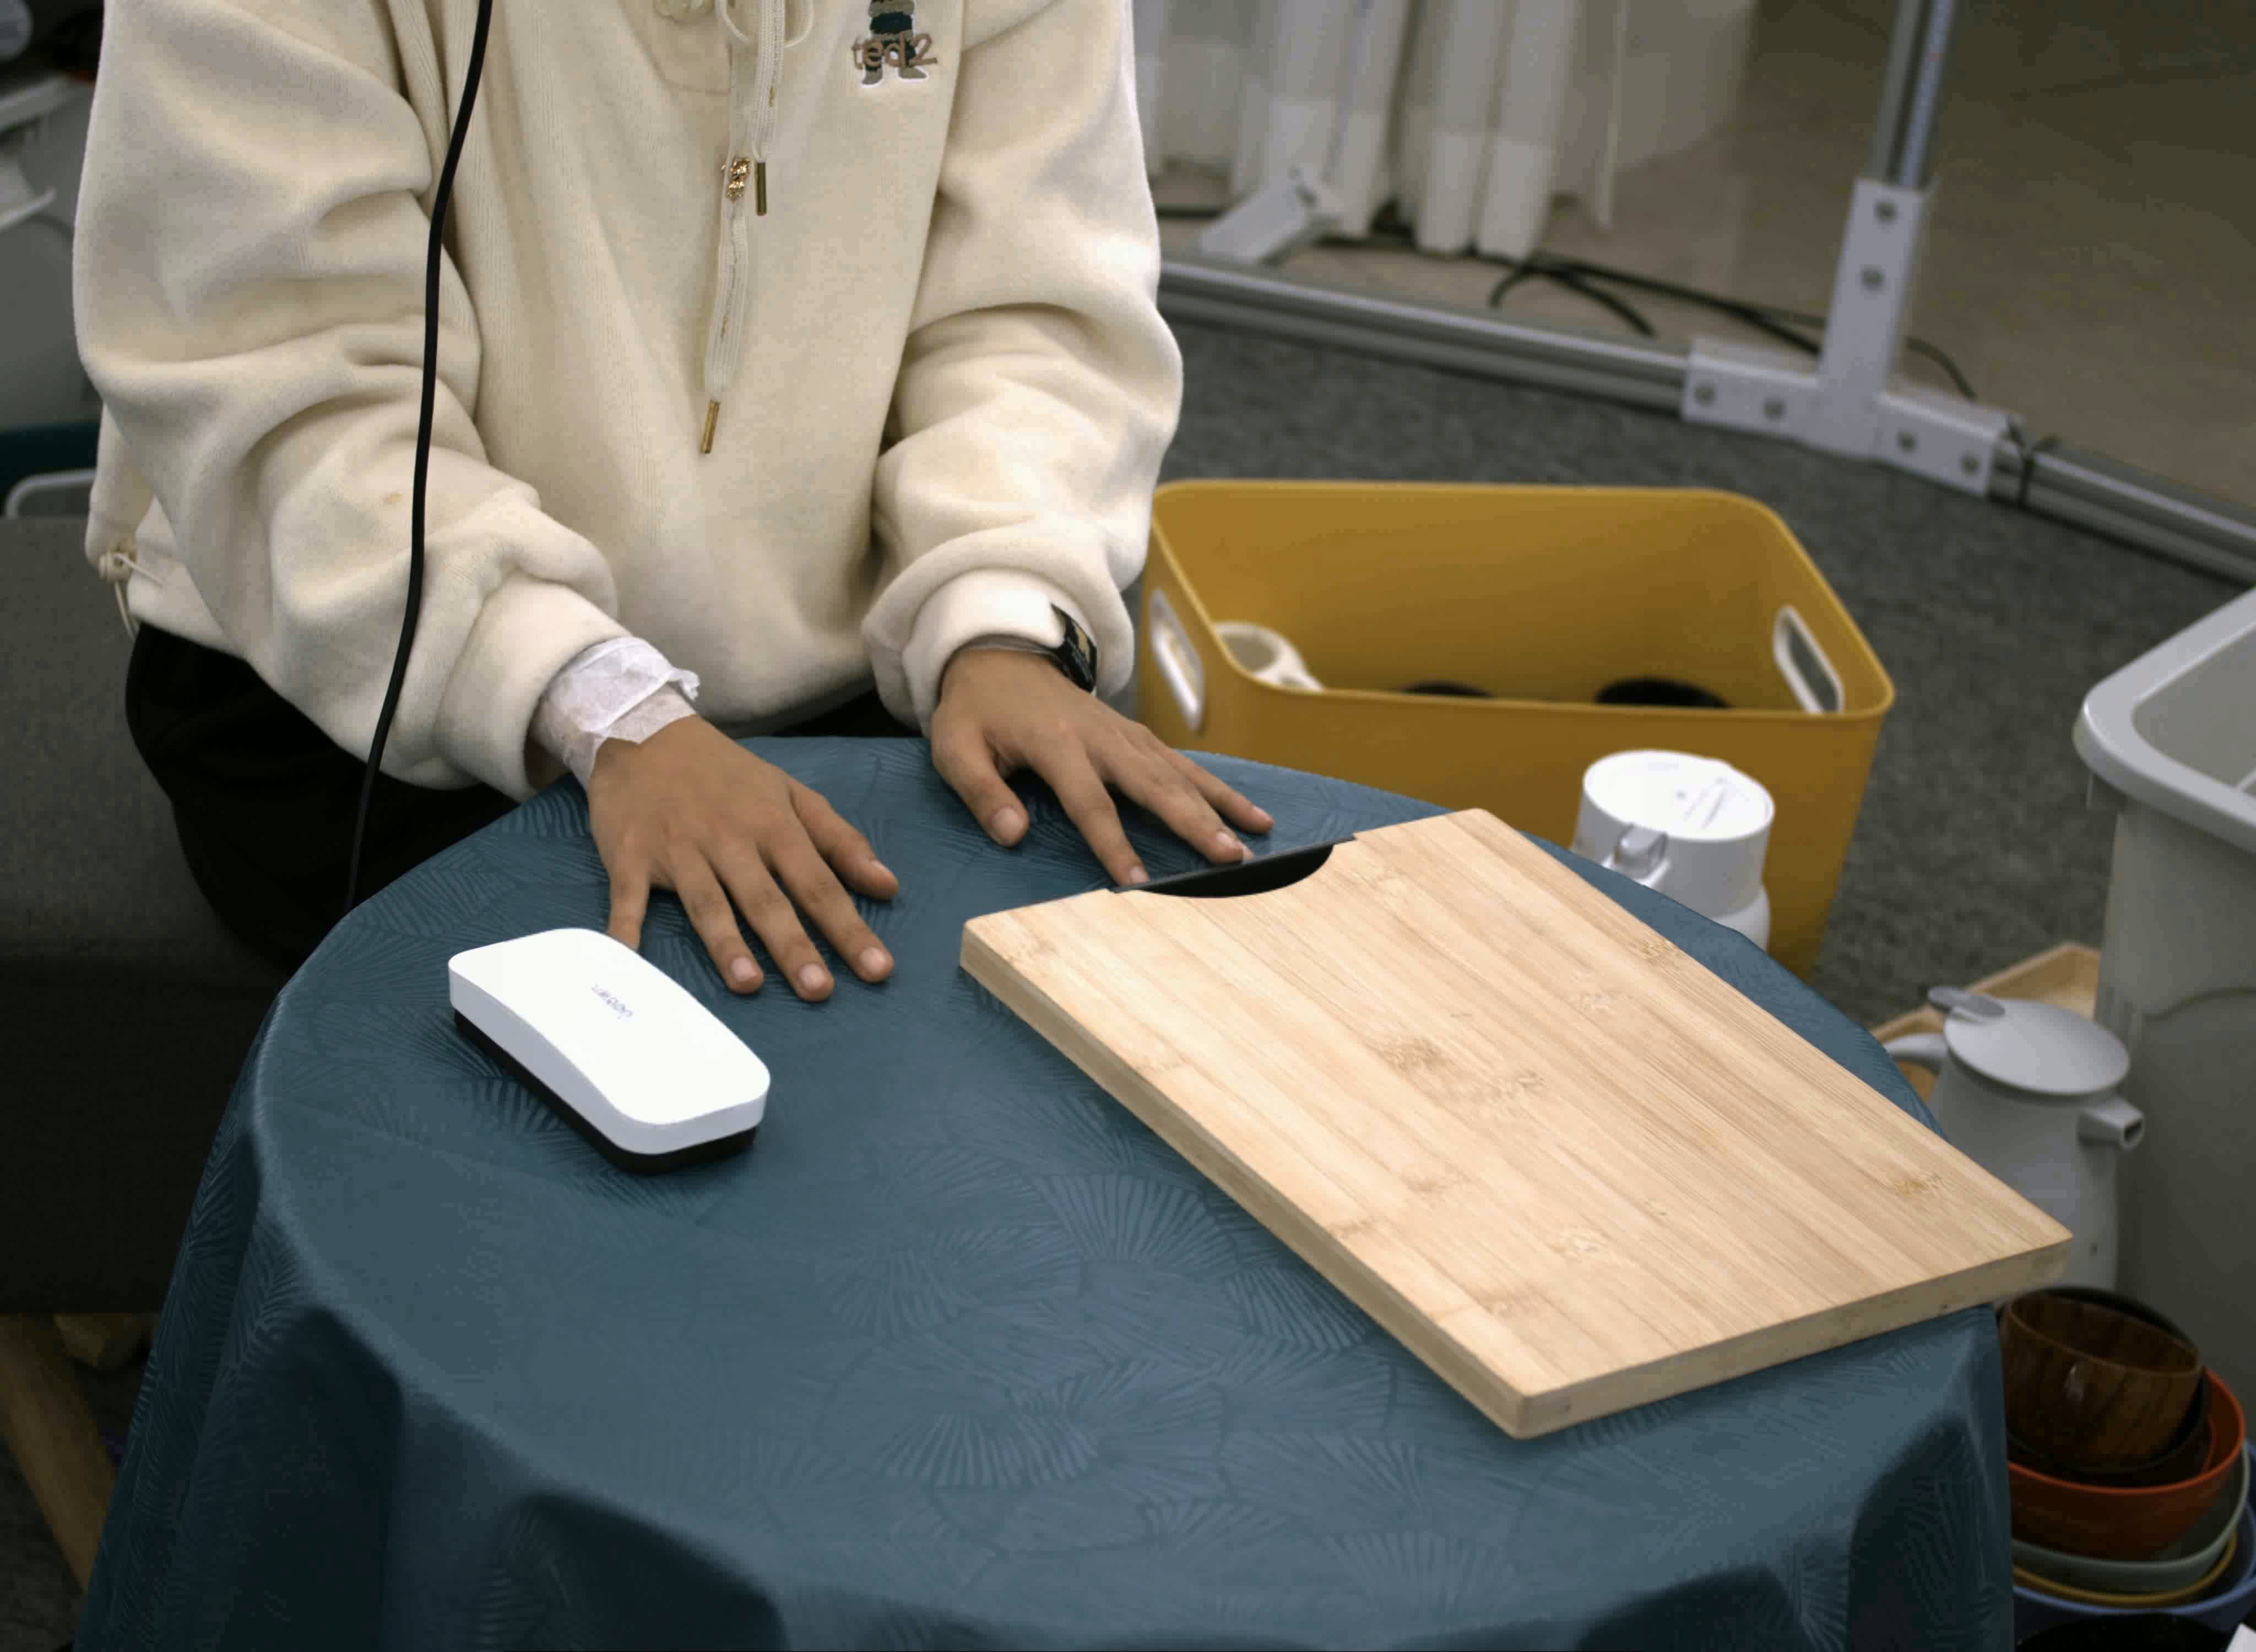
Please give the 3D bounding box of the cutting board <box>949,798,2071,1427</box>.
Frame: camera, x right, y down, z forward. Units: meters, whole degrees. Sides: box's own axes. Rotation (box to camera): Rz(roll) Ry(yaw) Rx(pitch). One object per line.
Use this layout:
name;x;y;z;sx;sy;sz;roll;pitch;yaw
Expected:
cutting board;0.127;0.093;1.874;0.249;0.023;0.352;-12;32;-33

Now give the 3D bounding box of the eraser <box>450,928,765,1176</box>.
eraser;-0.179;0.074;1.827;0.063;0.034;0.132;-13;34;-34
